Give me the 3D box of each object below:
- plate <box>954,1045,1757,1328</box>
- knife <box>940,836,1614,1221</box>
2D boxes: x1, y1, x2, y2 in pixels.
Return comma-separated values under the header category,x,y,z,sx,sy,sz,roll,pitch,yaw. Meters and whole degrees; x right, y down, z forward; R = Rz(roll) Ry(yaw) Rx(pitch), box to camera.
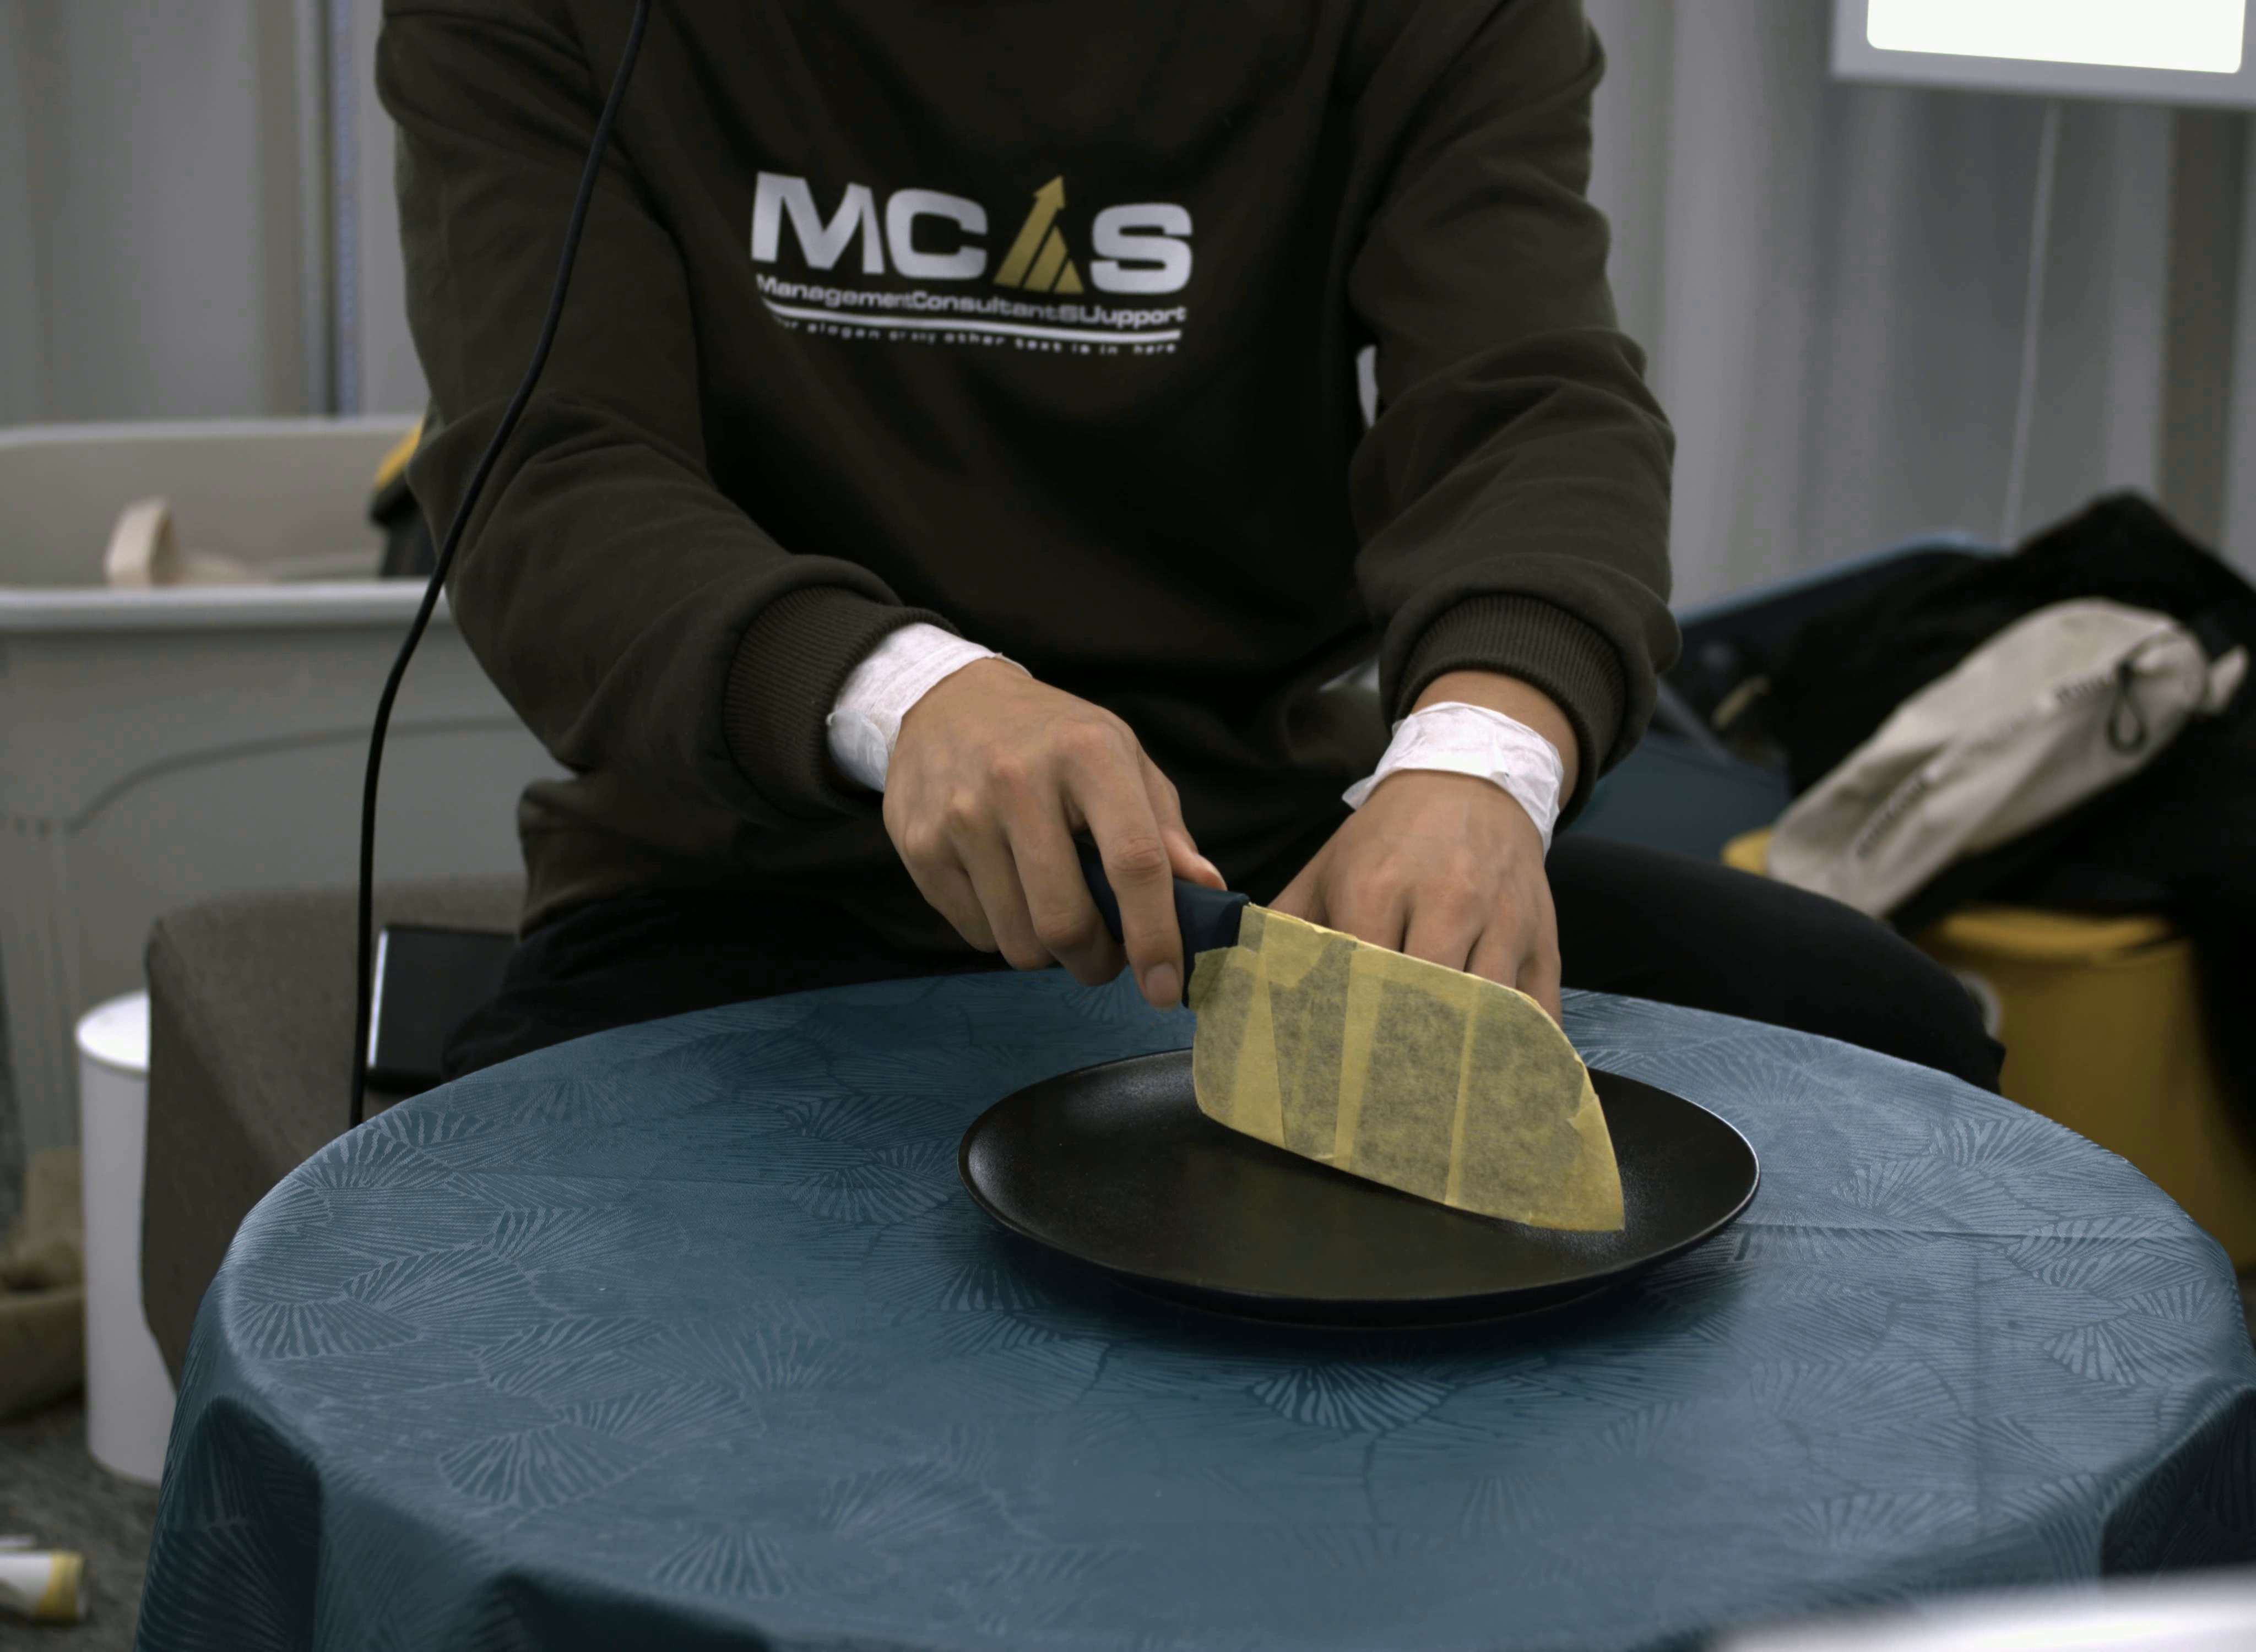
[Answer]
category,x,y,z,sx,sy,sz,roll,pitch,yaw
plate,0.068,0.110,1.592,0.243,0.023,0.243,1,15,0
knife,0.042,0.059,1.628,0.285,0.081,0.027,22,19,41
